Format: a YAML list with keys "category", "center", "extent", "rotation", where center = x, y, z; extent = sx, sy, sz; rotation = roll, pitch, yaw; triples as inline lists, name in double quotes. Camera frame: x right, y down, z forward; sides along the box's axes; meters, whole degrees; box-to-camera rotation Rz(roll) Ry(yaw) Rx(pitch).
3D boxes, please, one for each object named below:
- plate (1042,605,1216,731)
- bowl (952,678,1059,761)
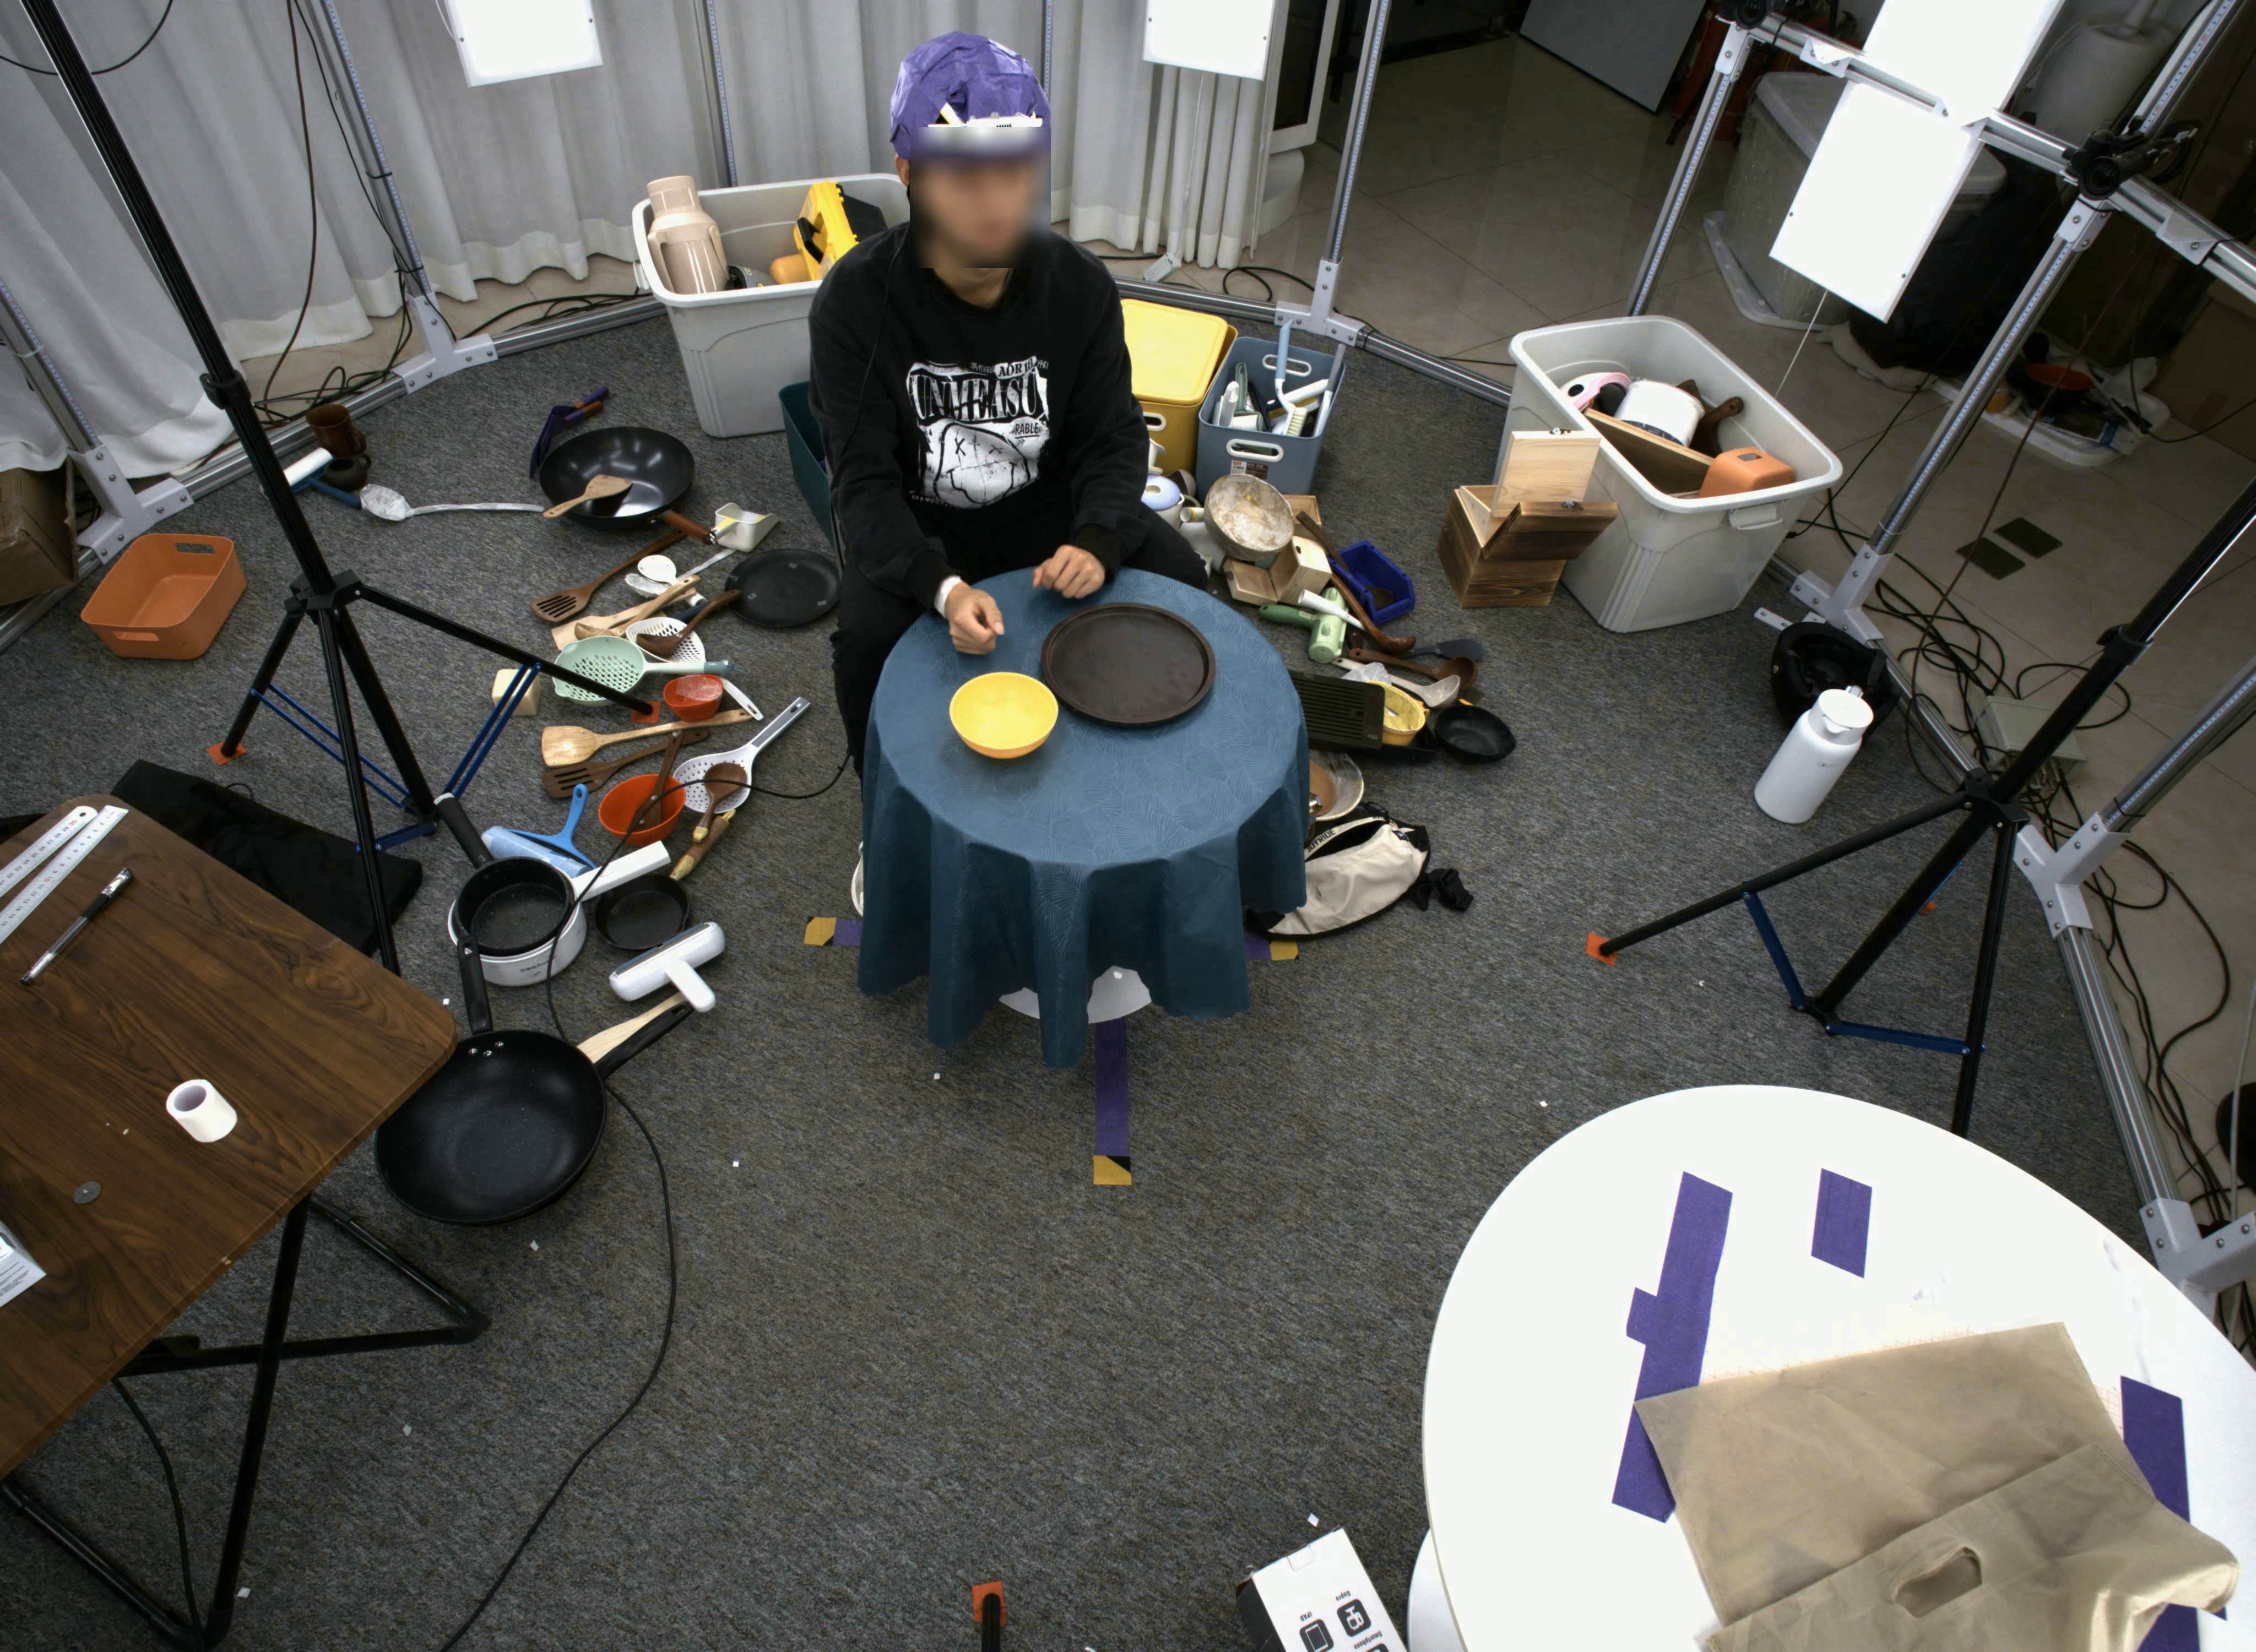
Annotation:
- category: "plate"
  center: [0.002, -0.232, 1.873]
  extent: [0.254, 0.028, 0.261]
  rotation: [1, 49, -1]
- category: "bowl"
  center: [-0.167, -0.135, 1.754]
  extent: [0.145, 0.058, 0.149]
  rotation: [1, 46, -2]
